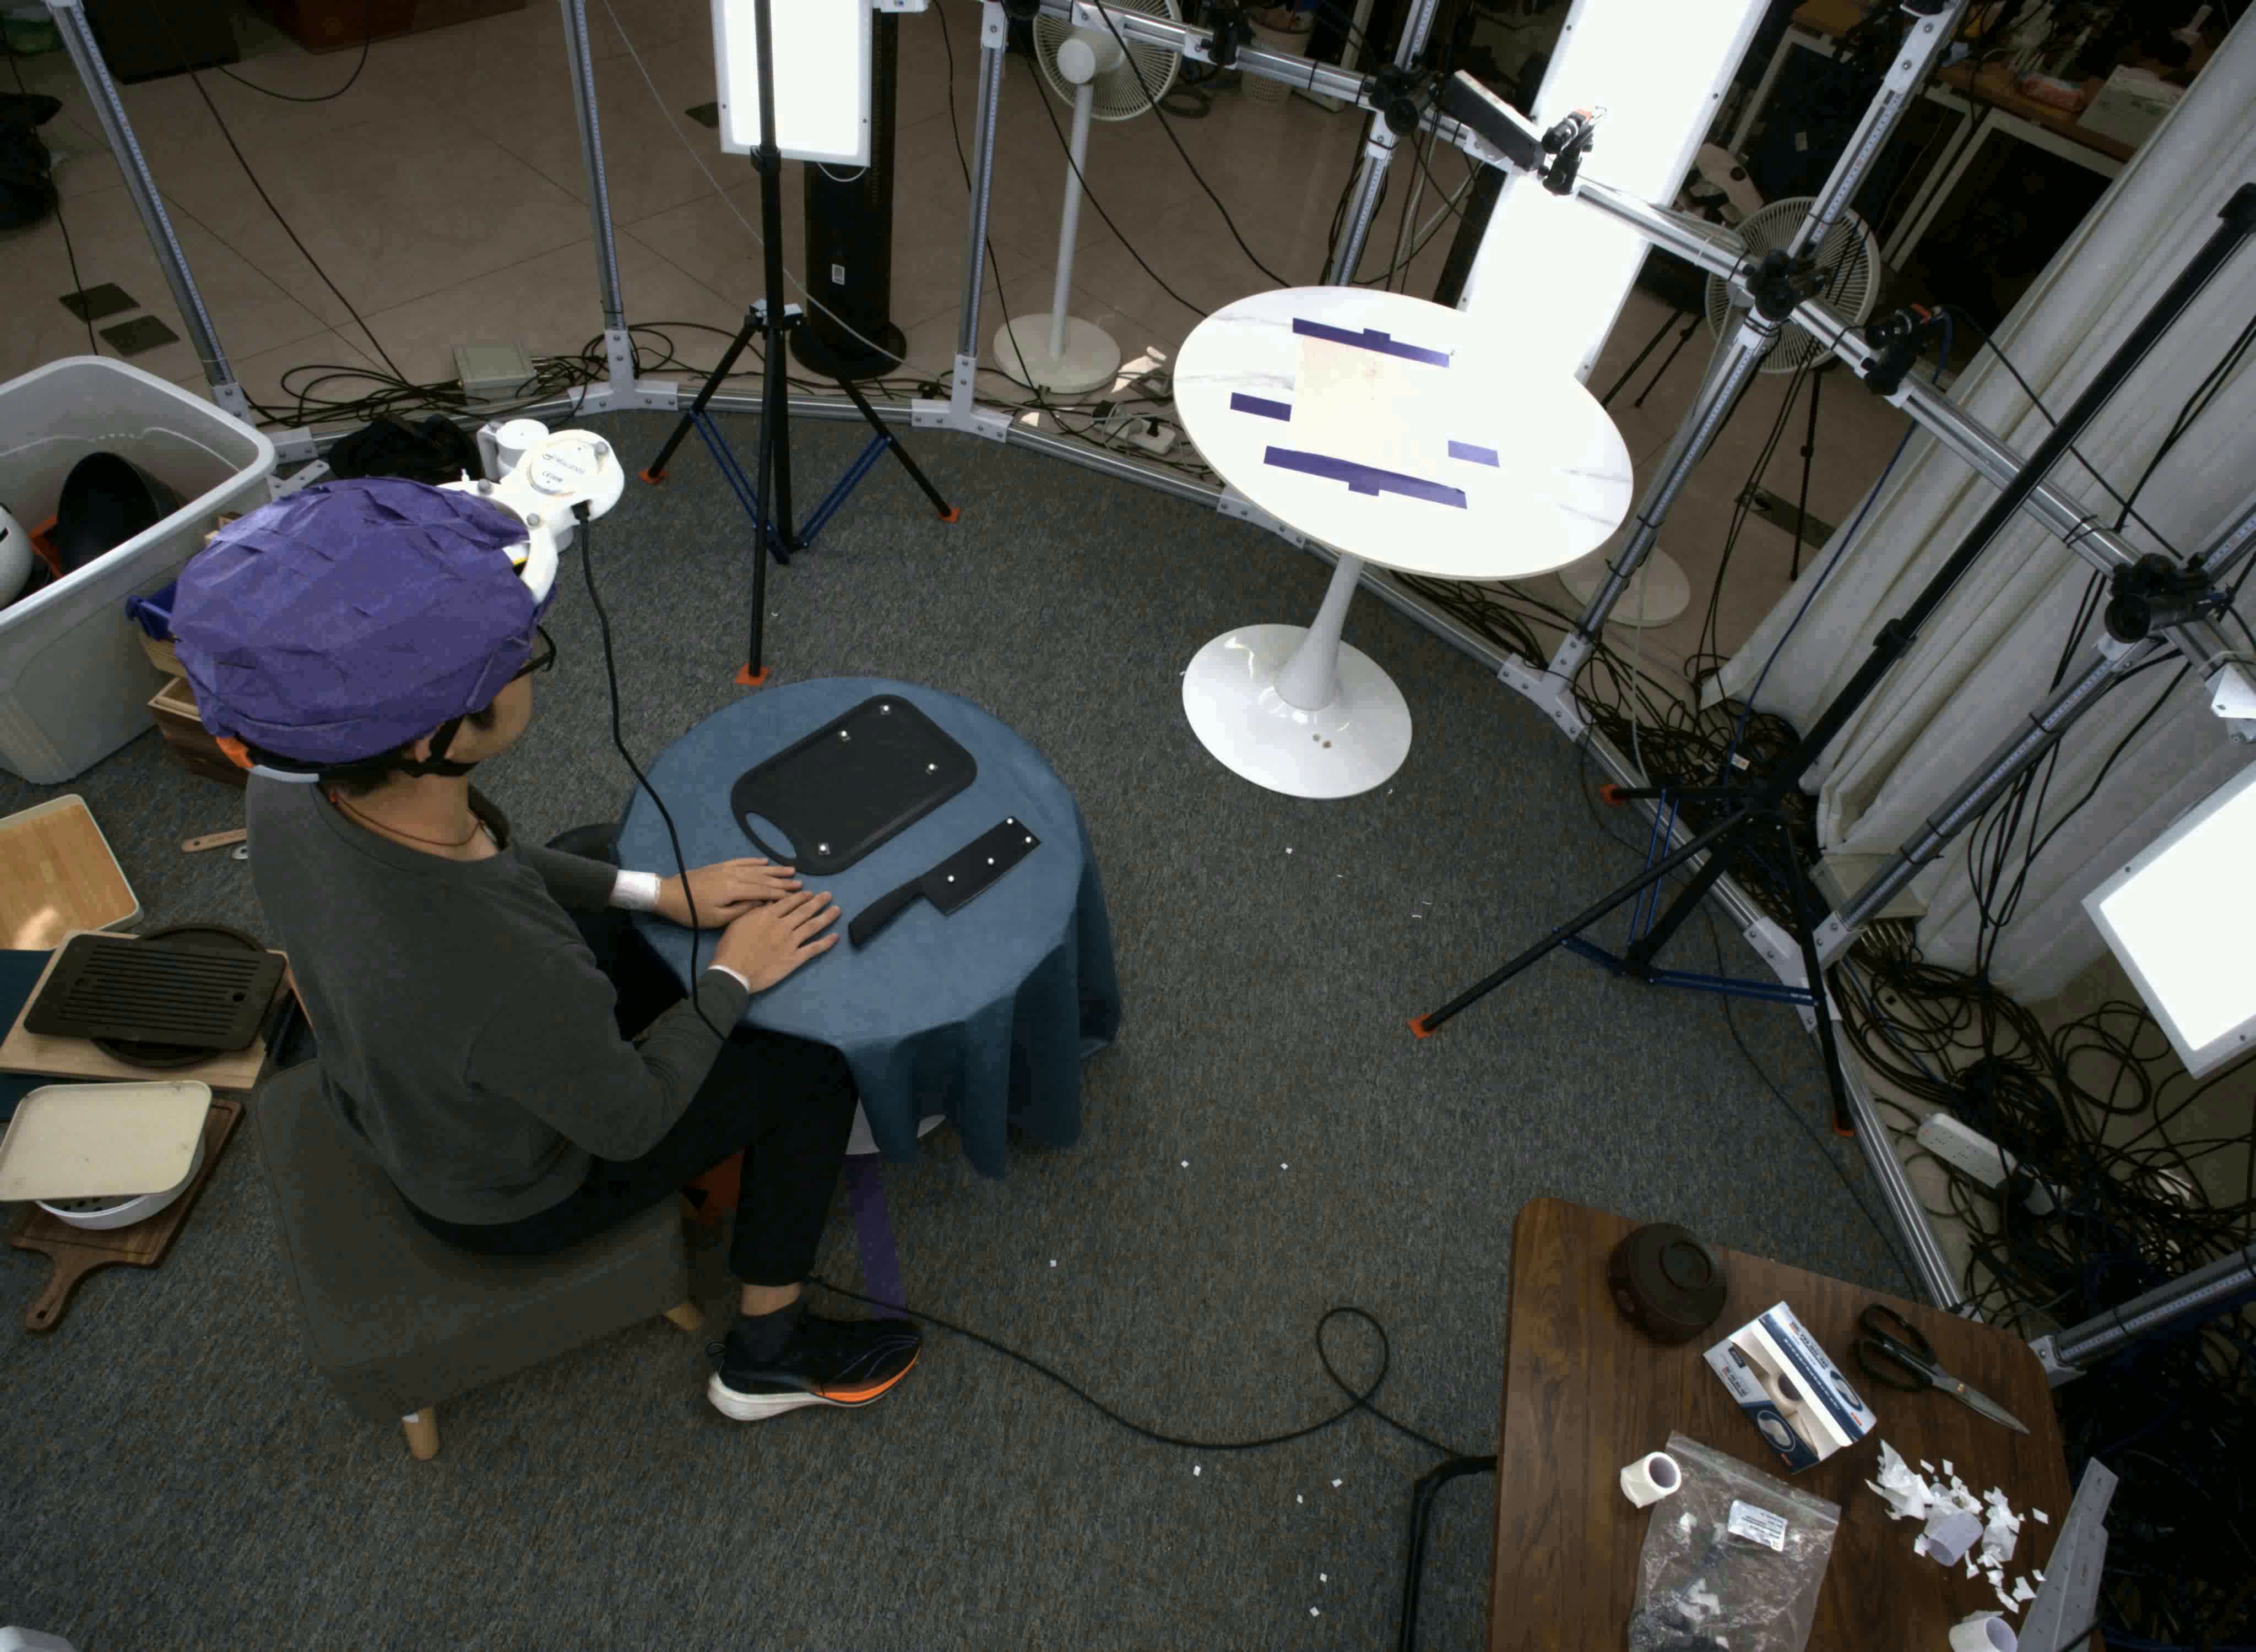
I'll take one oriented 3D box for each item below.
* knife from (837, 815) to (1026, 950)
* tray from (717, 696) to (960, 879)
[{"bbox_3d":[-0.258,0.075,1.714,0.303,0.021,0.079,-33,68,-34],"label":"knife"},{"bbox_3d":[-0.399,-0.057,1.780,0.206,0.010,0.326,40,55,16],"label":"tray"}]
